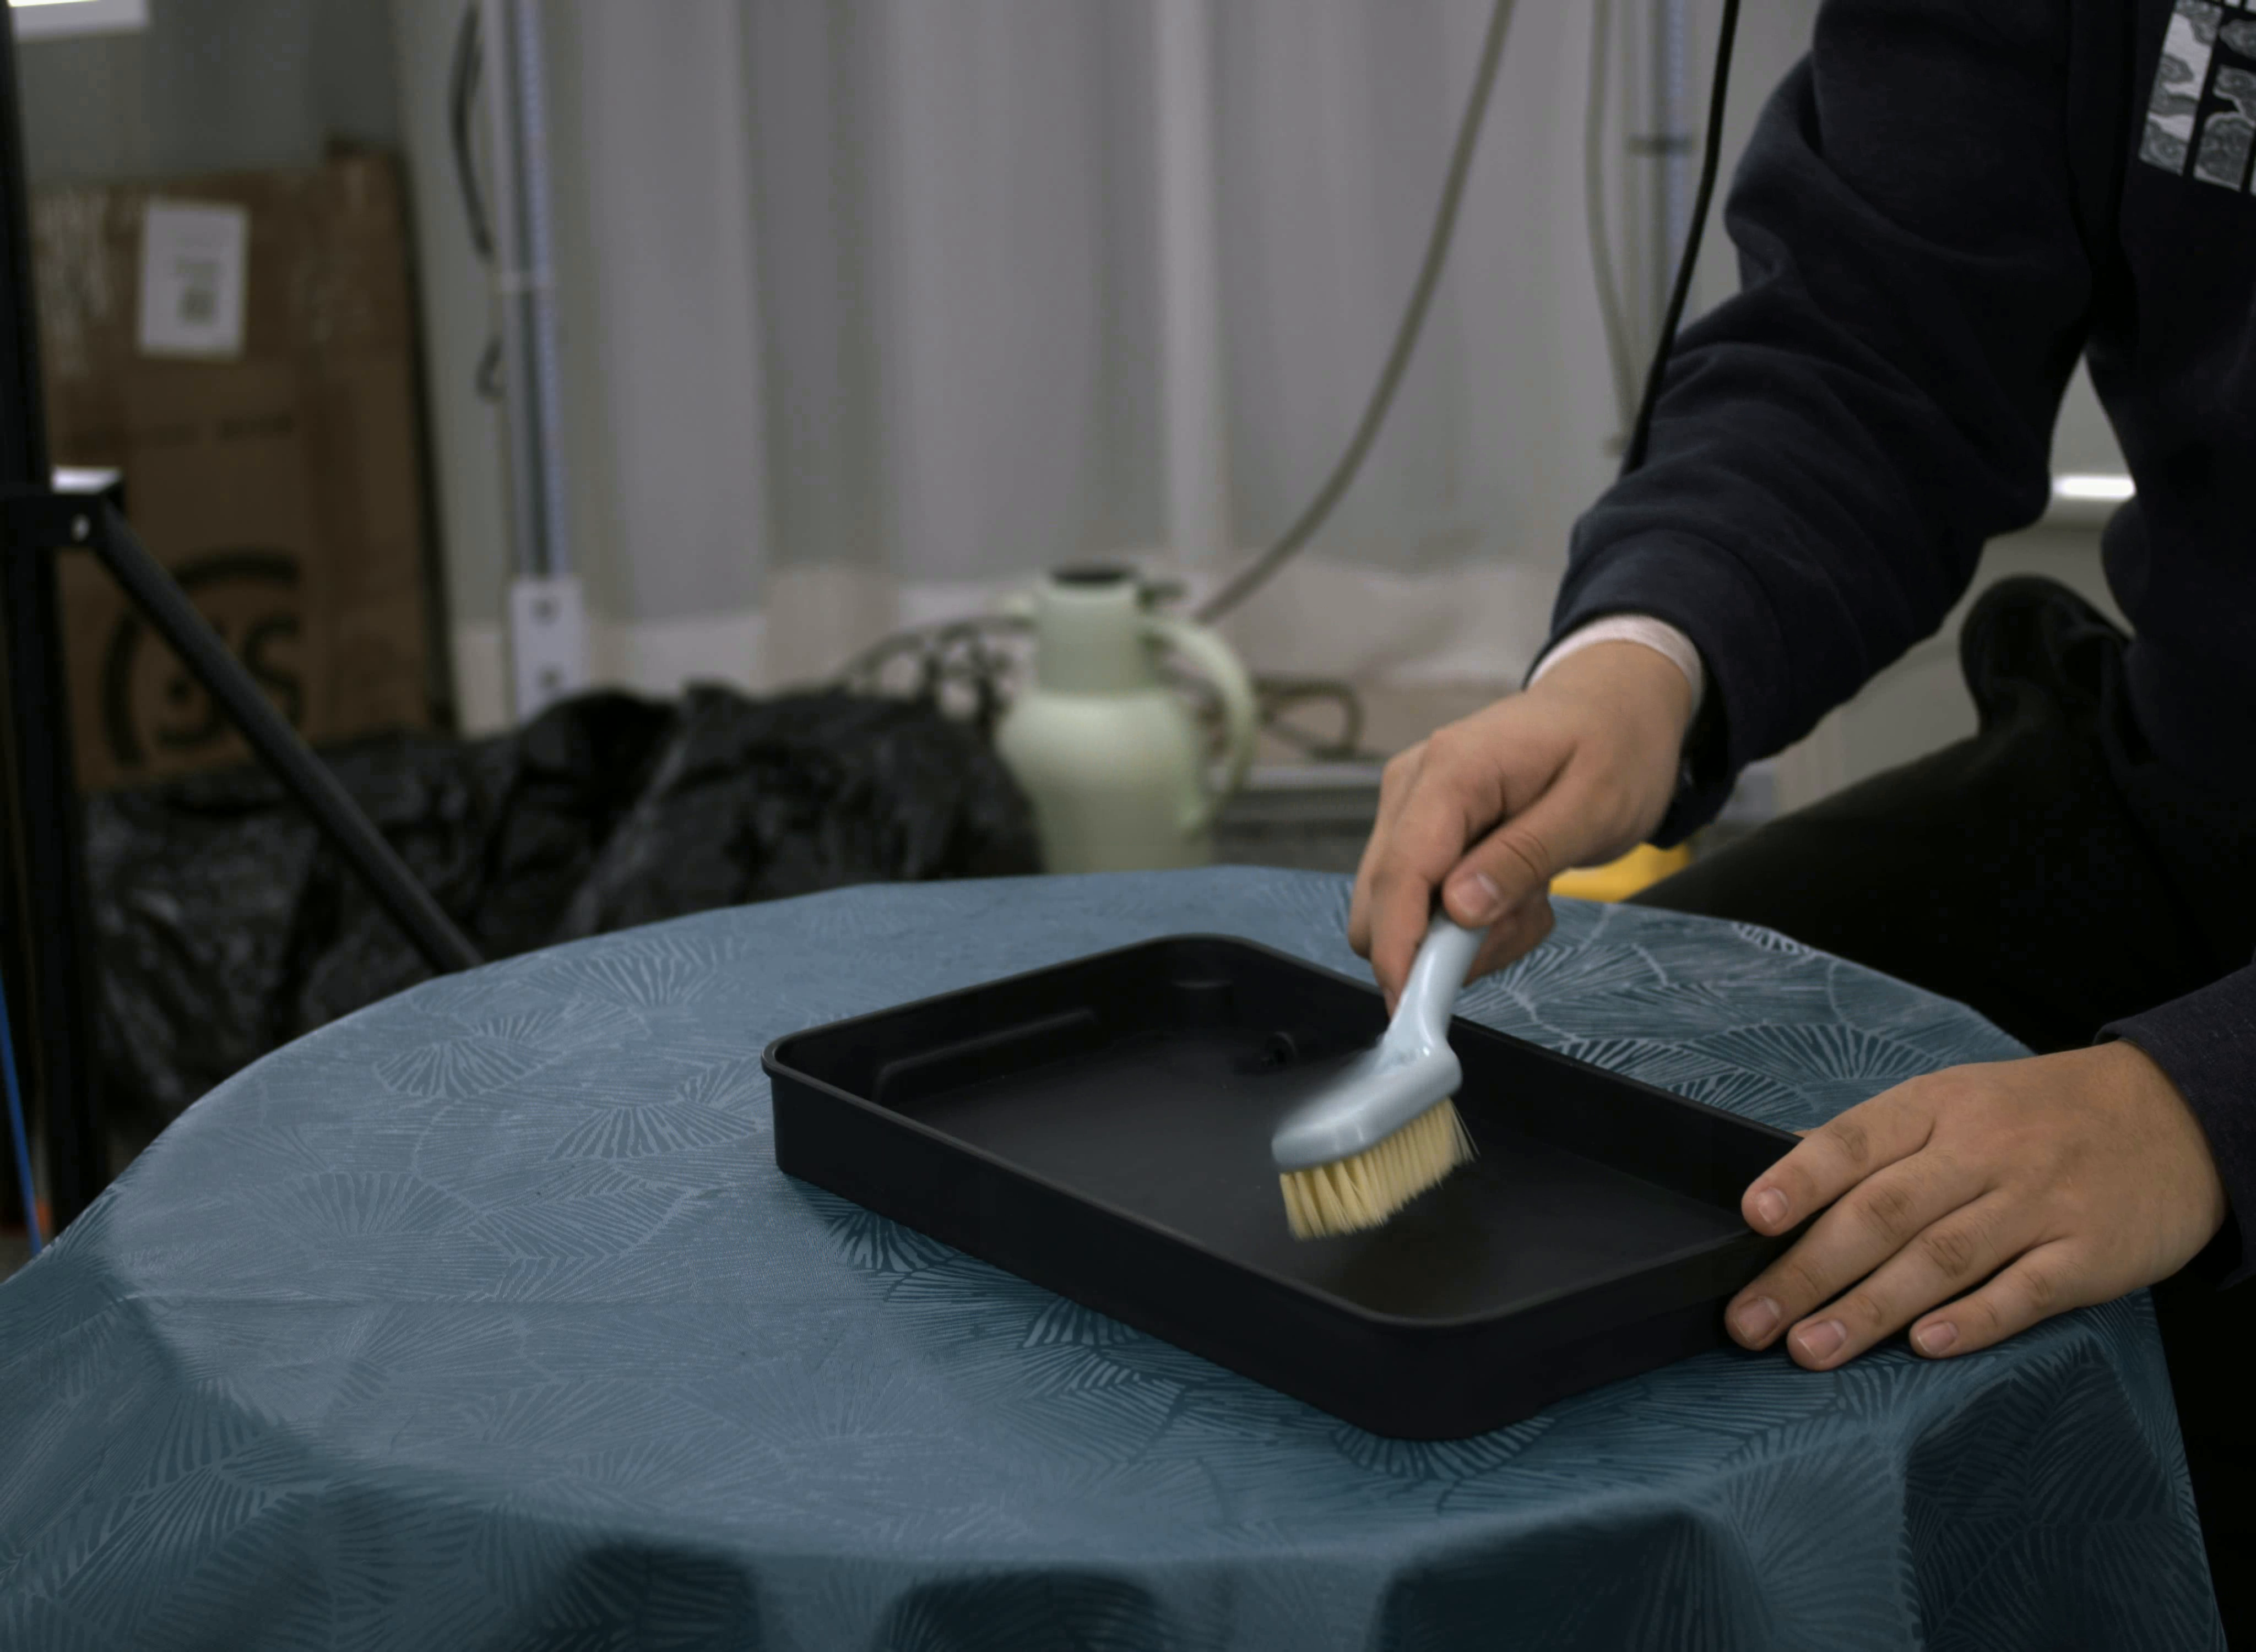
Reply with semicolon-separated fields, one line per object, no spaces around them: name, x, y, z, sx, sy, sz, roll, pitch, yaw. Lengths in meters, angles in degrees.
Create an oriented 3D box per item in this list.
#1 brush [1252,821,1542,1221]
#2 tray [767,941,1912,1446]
brush;0.087;0.055;1.547;0.038;0.049;0.227;-18;17;25
tray;0.054;0.099;1.517;0.180;0.037;0.325;-14;19;-36
